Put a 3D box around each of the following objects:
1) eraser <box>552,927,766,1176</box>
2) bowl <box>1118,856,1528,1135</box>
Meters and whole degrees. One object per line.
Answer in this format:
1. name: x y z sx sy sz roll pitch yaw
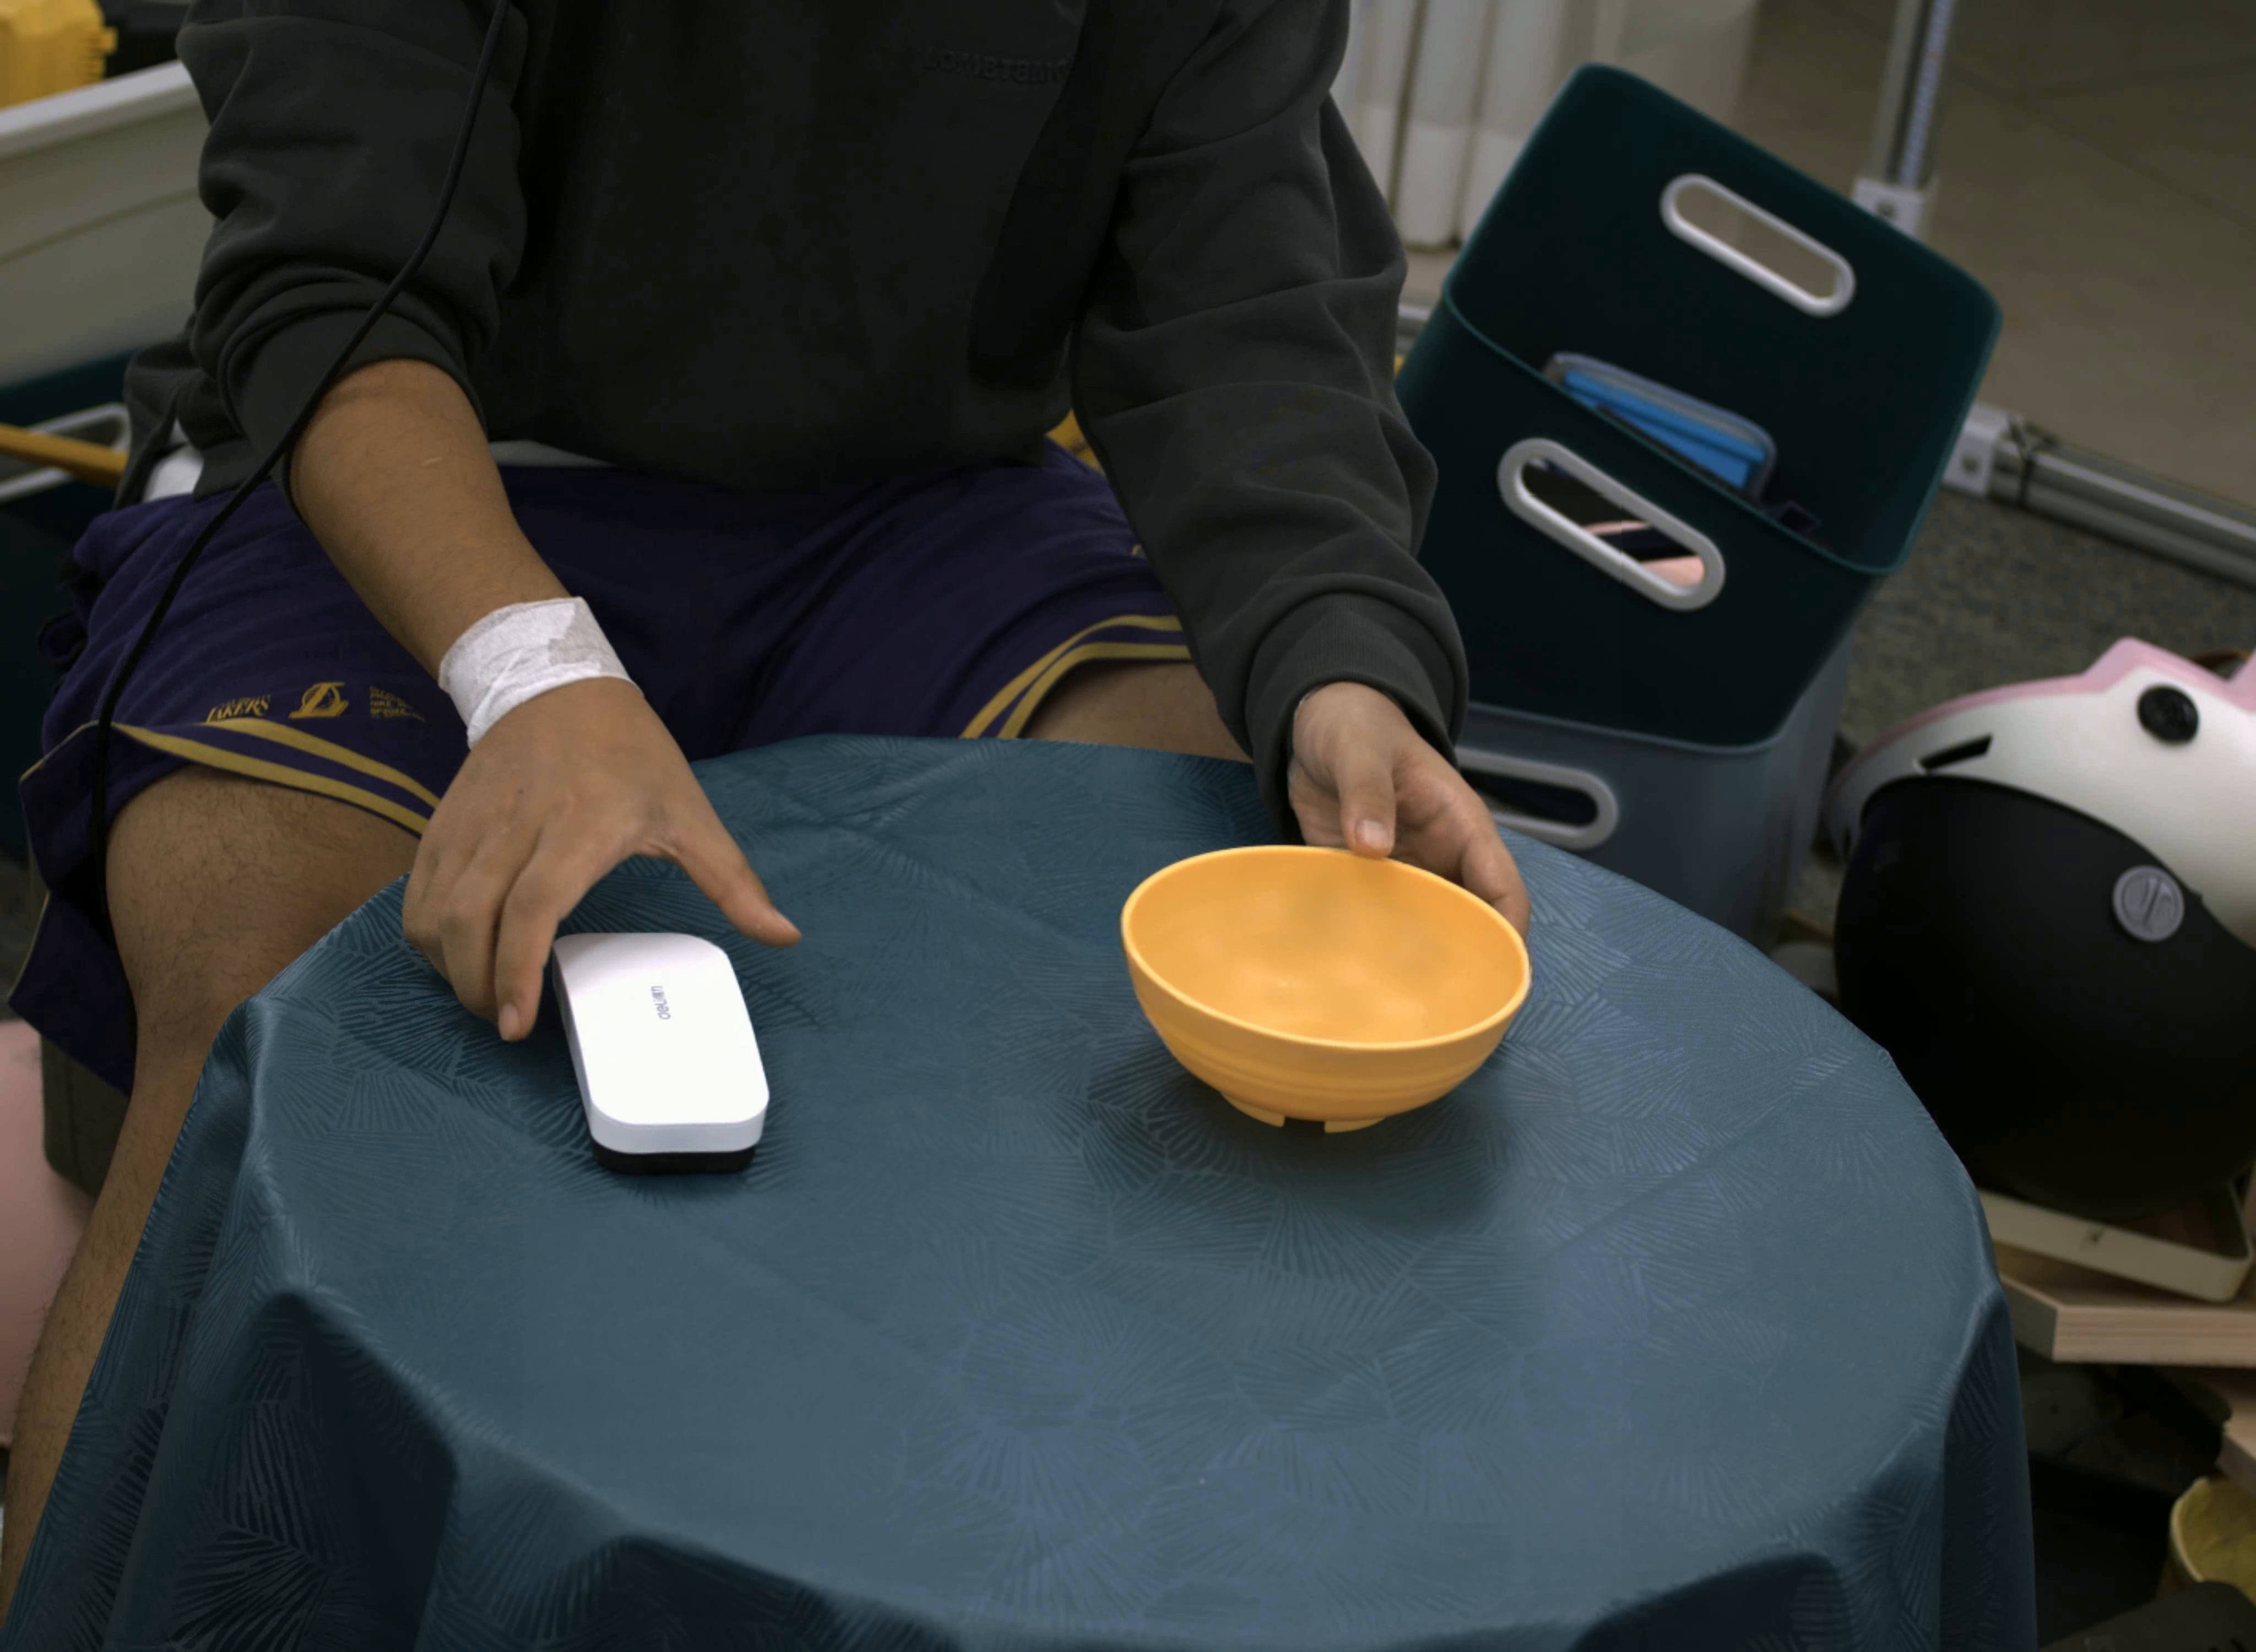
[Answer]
1. eraser: -0.161 0.074 1.828 0.063 0.034 0.132 1 29 -13
2. bowl: 0.065 0.068 1.866 0.145 0.060 0.146 5 24 -3
